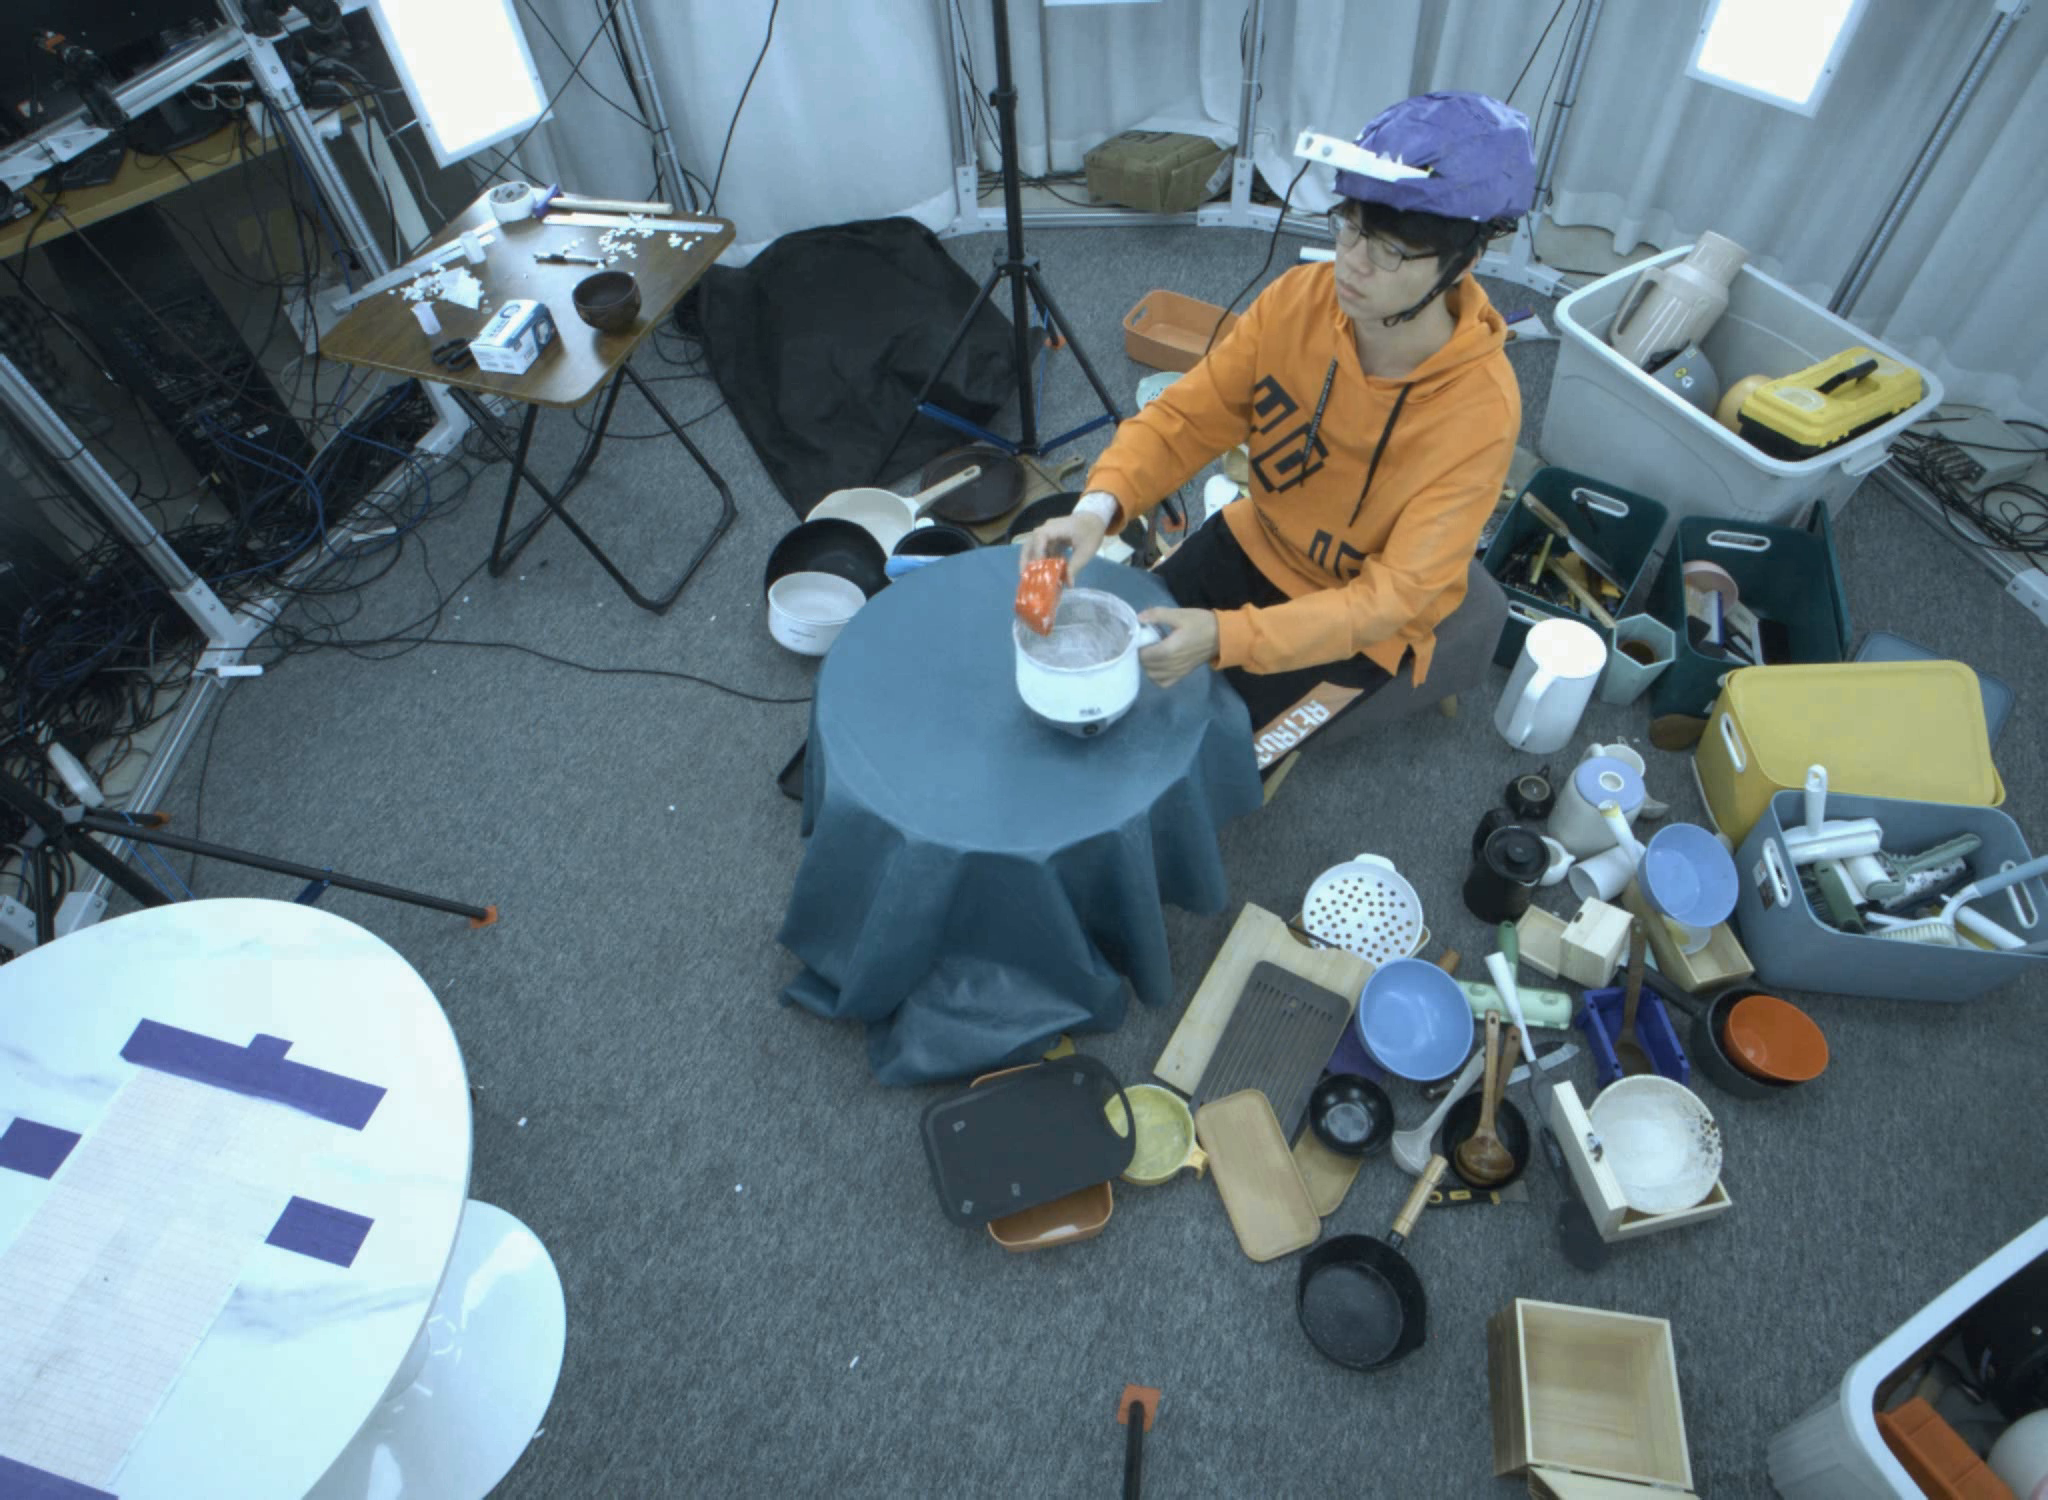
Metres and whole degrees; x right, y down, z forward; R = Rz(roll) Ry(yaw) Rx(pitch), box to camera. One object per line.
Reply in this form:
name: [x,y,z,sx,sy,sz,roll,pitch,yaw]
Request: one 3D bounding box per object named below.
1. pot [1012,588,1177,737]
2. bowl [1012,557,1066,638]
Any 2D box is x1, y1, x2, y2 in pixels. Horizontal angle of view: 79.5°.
pot: [0.103,-0.129,1.756,0.235,0.138,0.176,-10,48,-7]
bowl: [0.018,-0.213,1.673,0.051,0.119,0.118,16,57,4]
